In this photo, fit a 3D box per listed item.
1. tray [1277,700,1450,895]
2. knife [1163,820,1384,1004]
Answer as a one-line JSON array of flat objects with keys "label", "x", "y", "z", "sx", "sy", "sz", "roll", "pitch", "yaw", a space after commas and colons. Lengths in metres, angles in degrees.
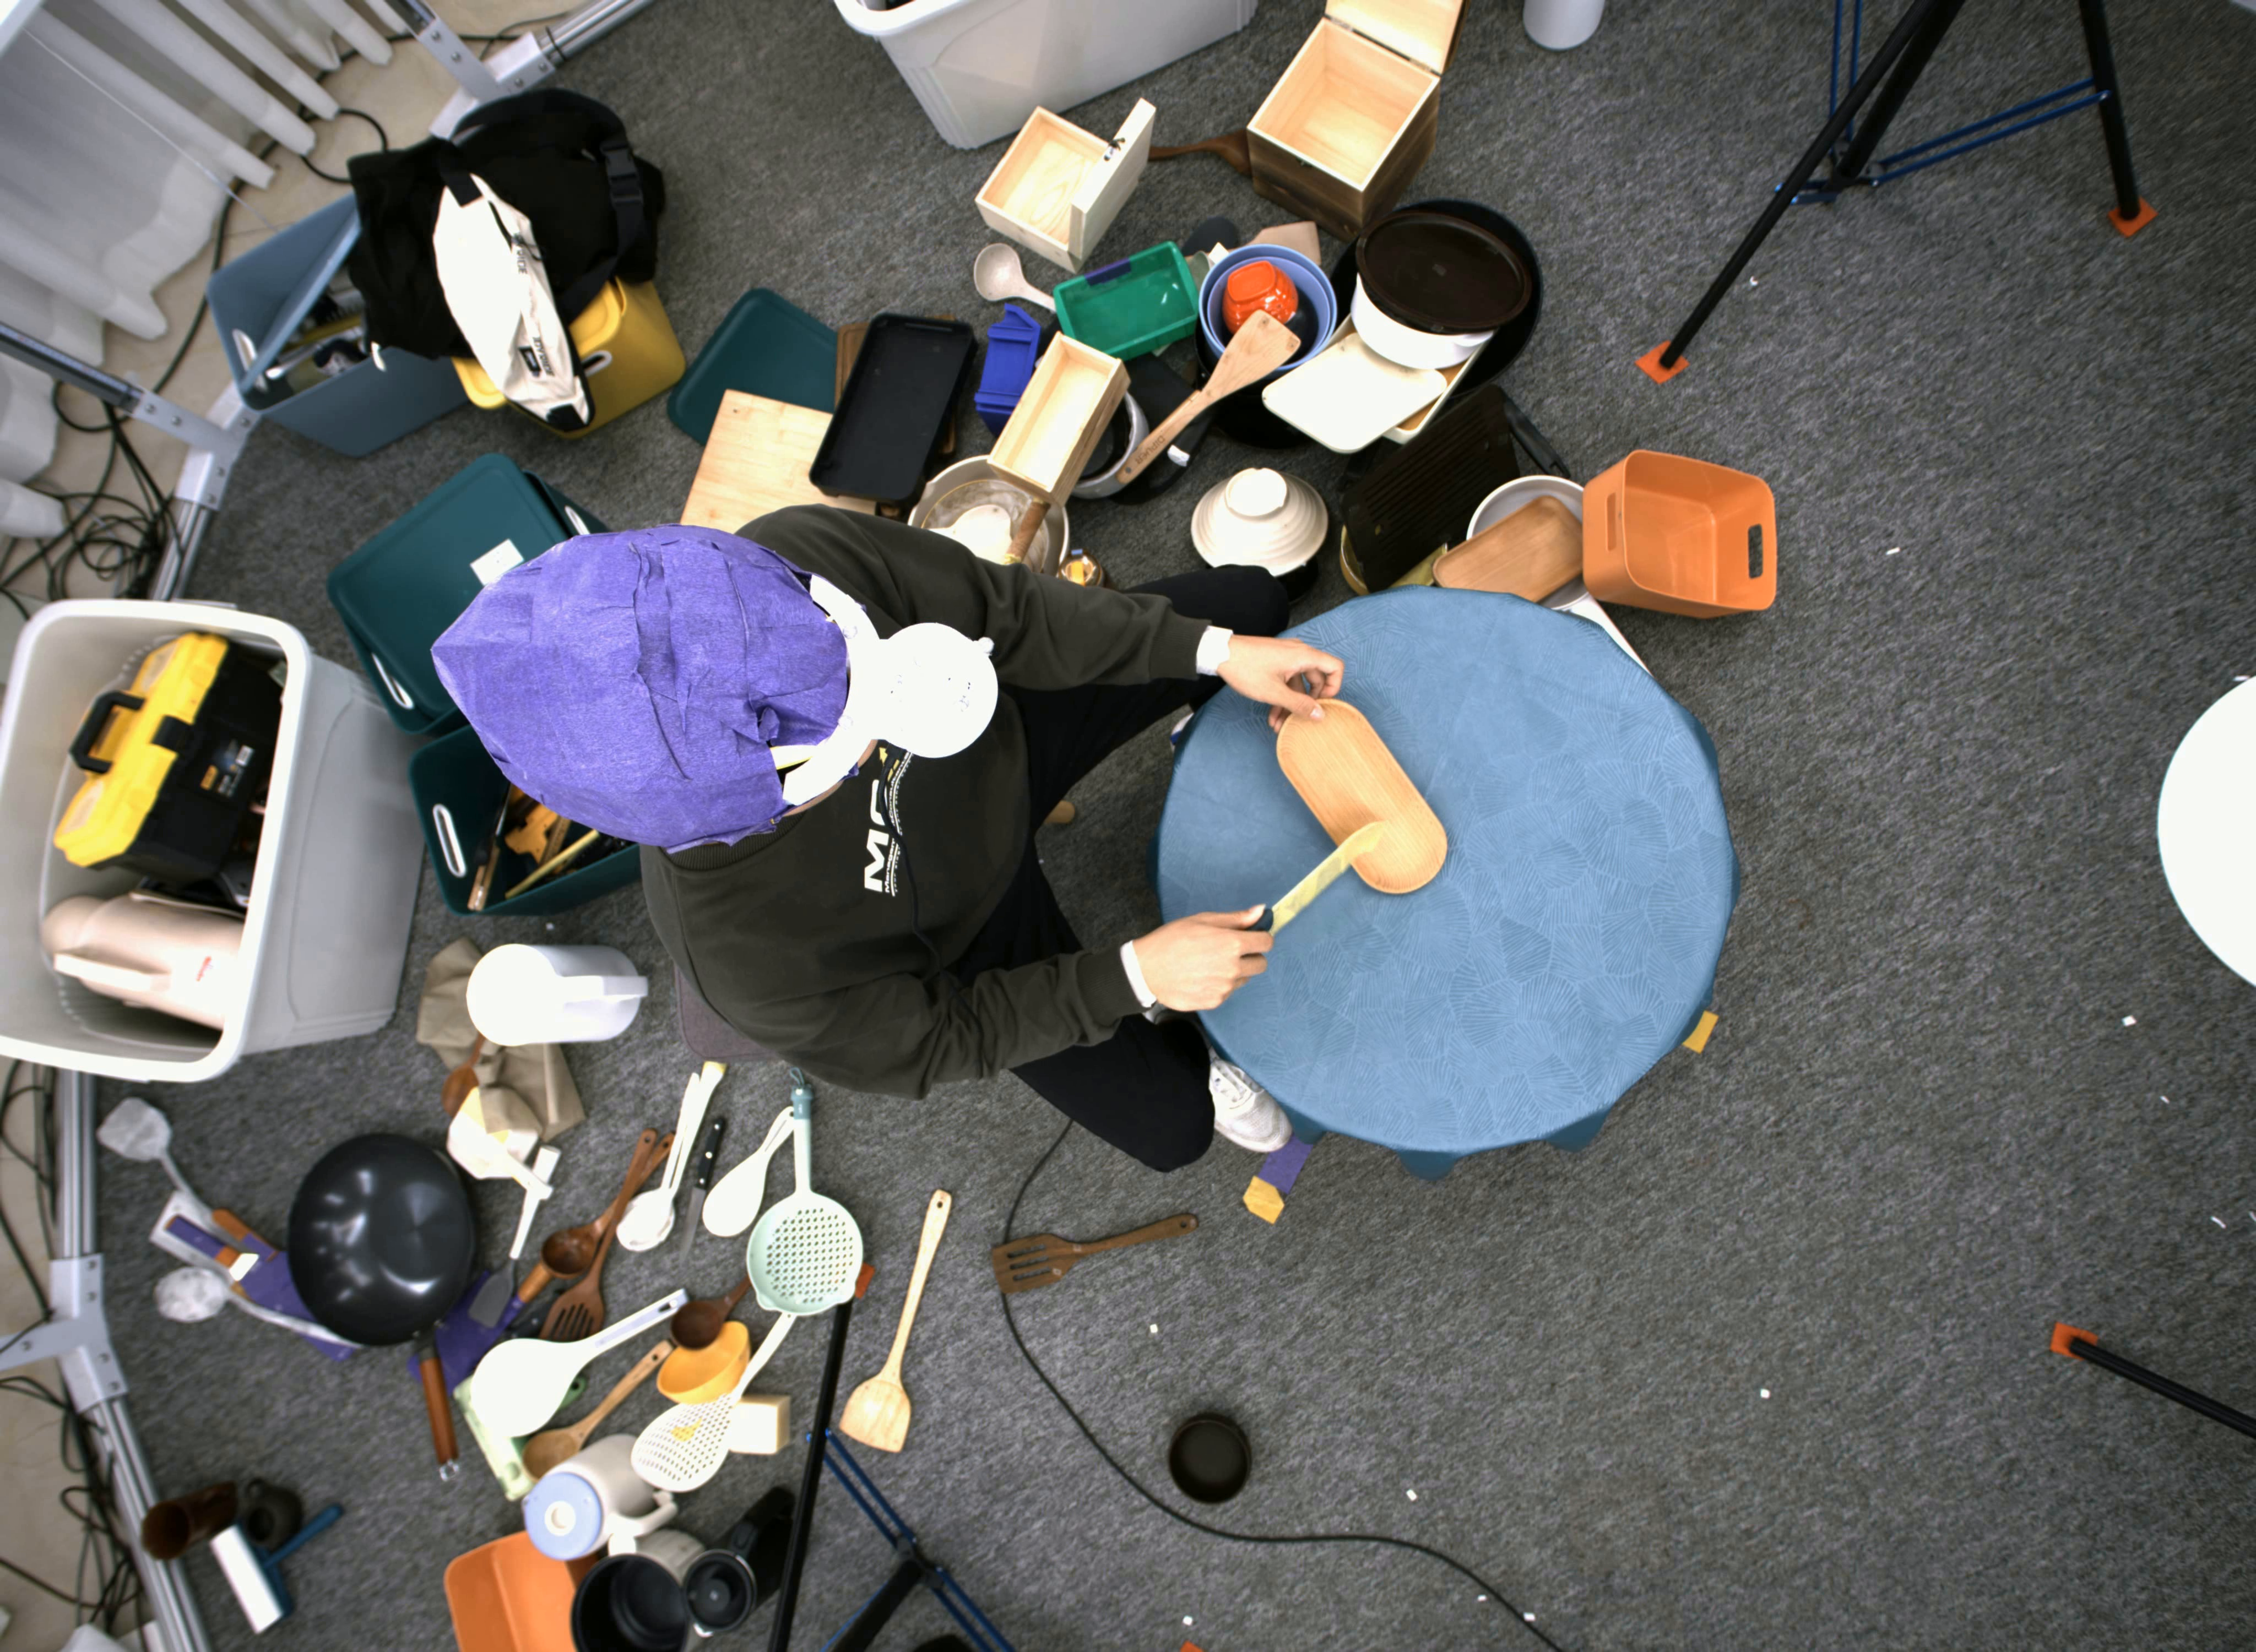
[{"label": "tray", "x": 0.243, "y": -0.030, "z": 1.424, "sx": 0.103, "sy": 0.020, "sz": 0.232, "roll": -35, "pitch": 103, "yaw": 15}, {"label": "knife", "x": 0.151, "y": 0.083, "z": 1.387, "sx": 0.288, "sy": 0.082, "sz": 0.027, "roll": -39, "pitch": 67, "yaw": -7}]
